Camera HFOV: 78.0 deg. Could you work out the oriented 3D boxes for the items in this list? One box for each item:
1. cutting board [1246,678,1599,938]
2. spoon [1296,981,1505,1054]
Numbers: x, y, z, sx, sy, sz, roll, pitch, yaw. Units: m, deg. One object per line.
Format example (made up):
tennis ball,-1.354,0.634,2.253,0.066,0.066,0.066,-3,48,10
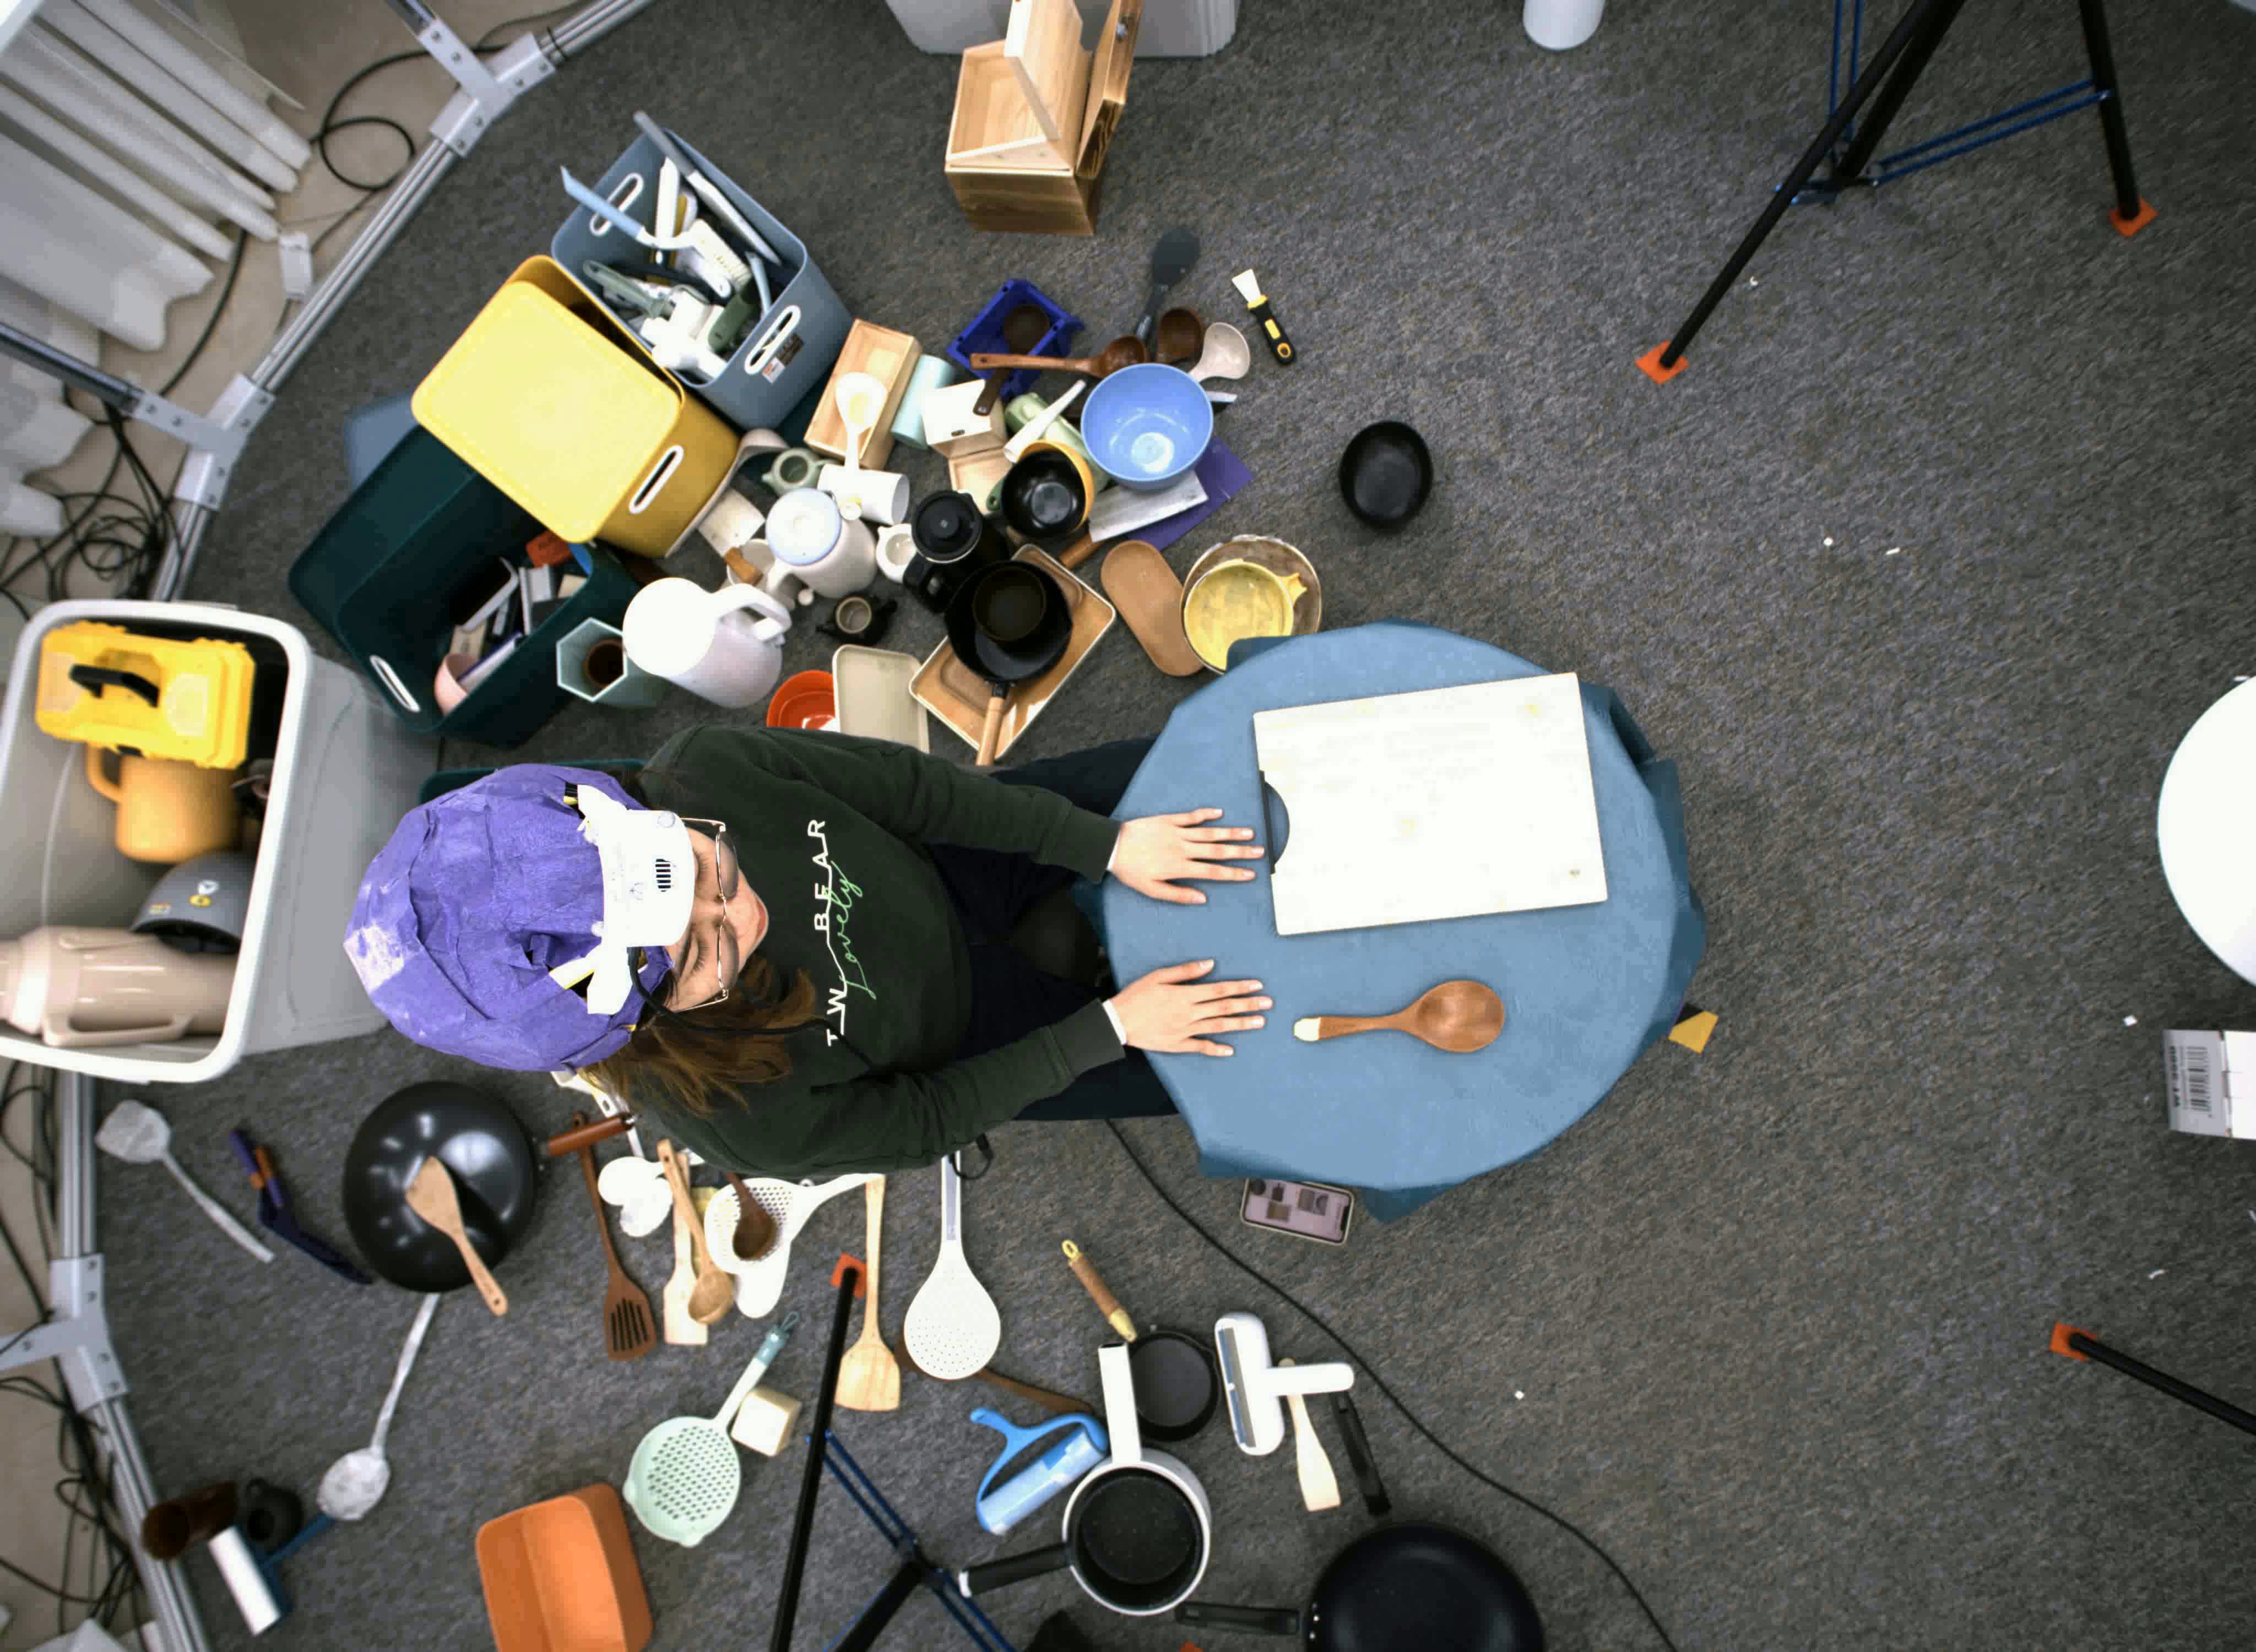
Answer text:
cutting board,0.310,-0.020,1.456,0.350,0.023,0.249,-8,84,10
spoon,0.283,0.204,1.444,0.217,0.017,0.075,-7,86,9
